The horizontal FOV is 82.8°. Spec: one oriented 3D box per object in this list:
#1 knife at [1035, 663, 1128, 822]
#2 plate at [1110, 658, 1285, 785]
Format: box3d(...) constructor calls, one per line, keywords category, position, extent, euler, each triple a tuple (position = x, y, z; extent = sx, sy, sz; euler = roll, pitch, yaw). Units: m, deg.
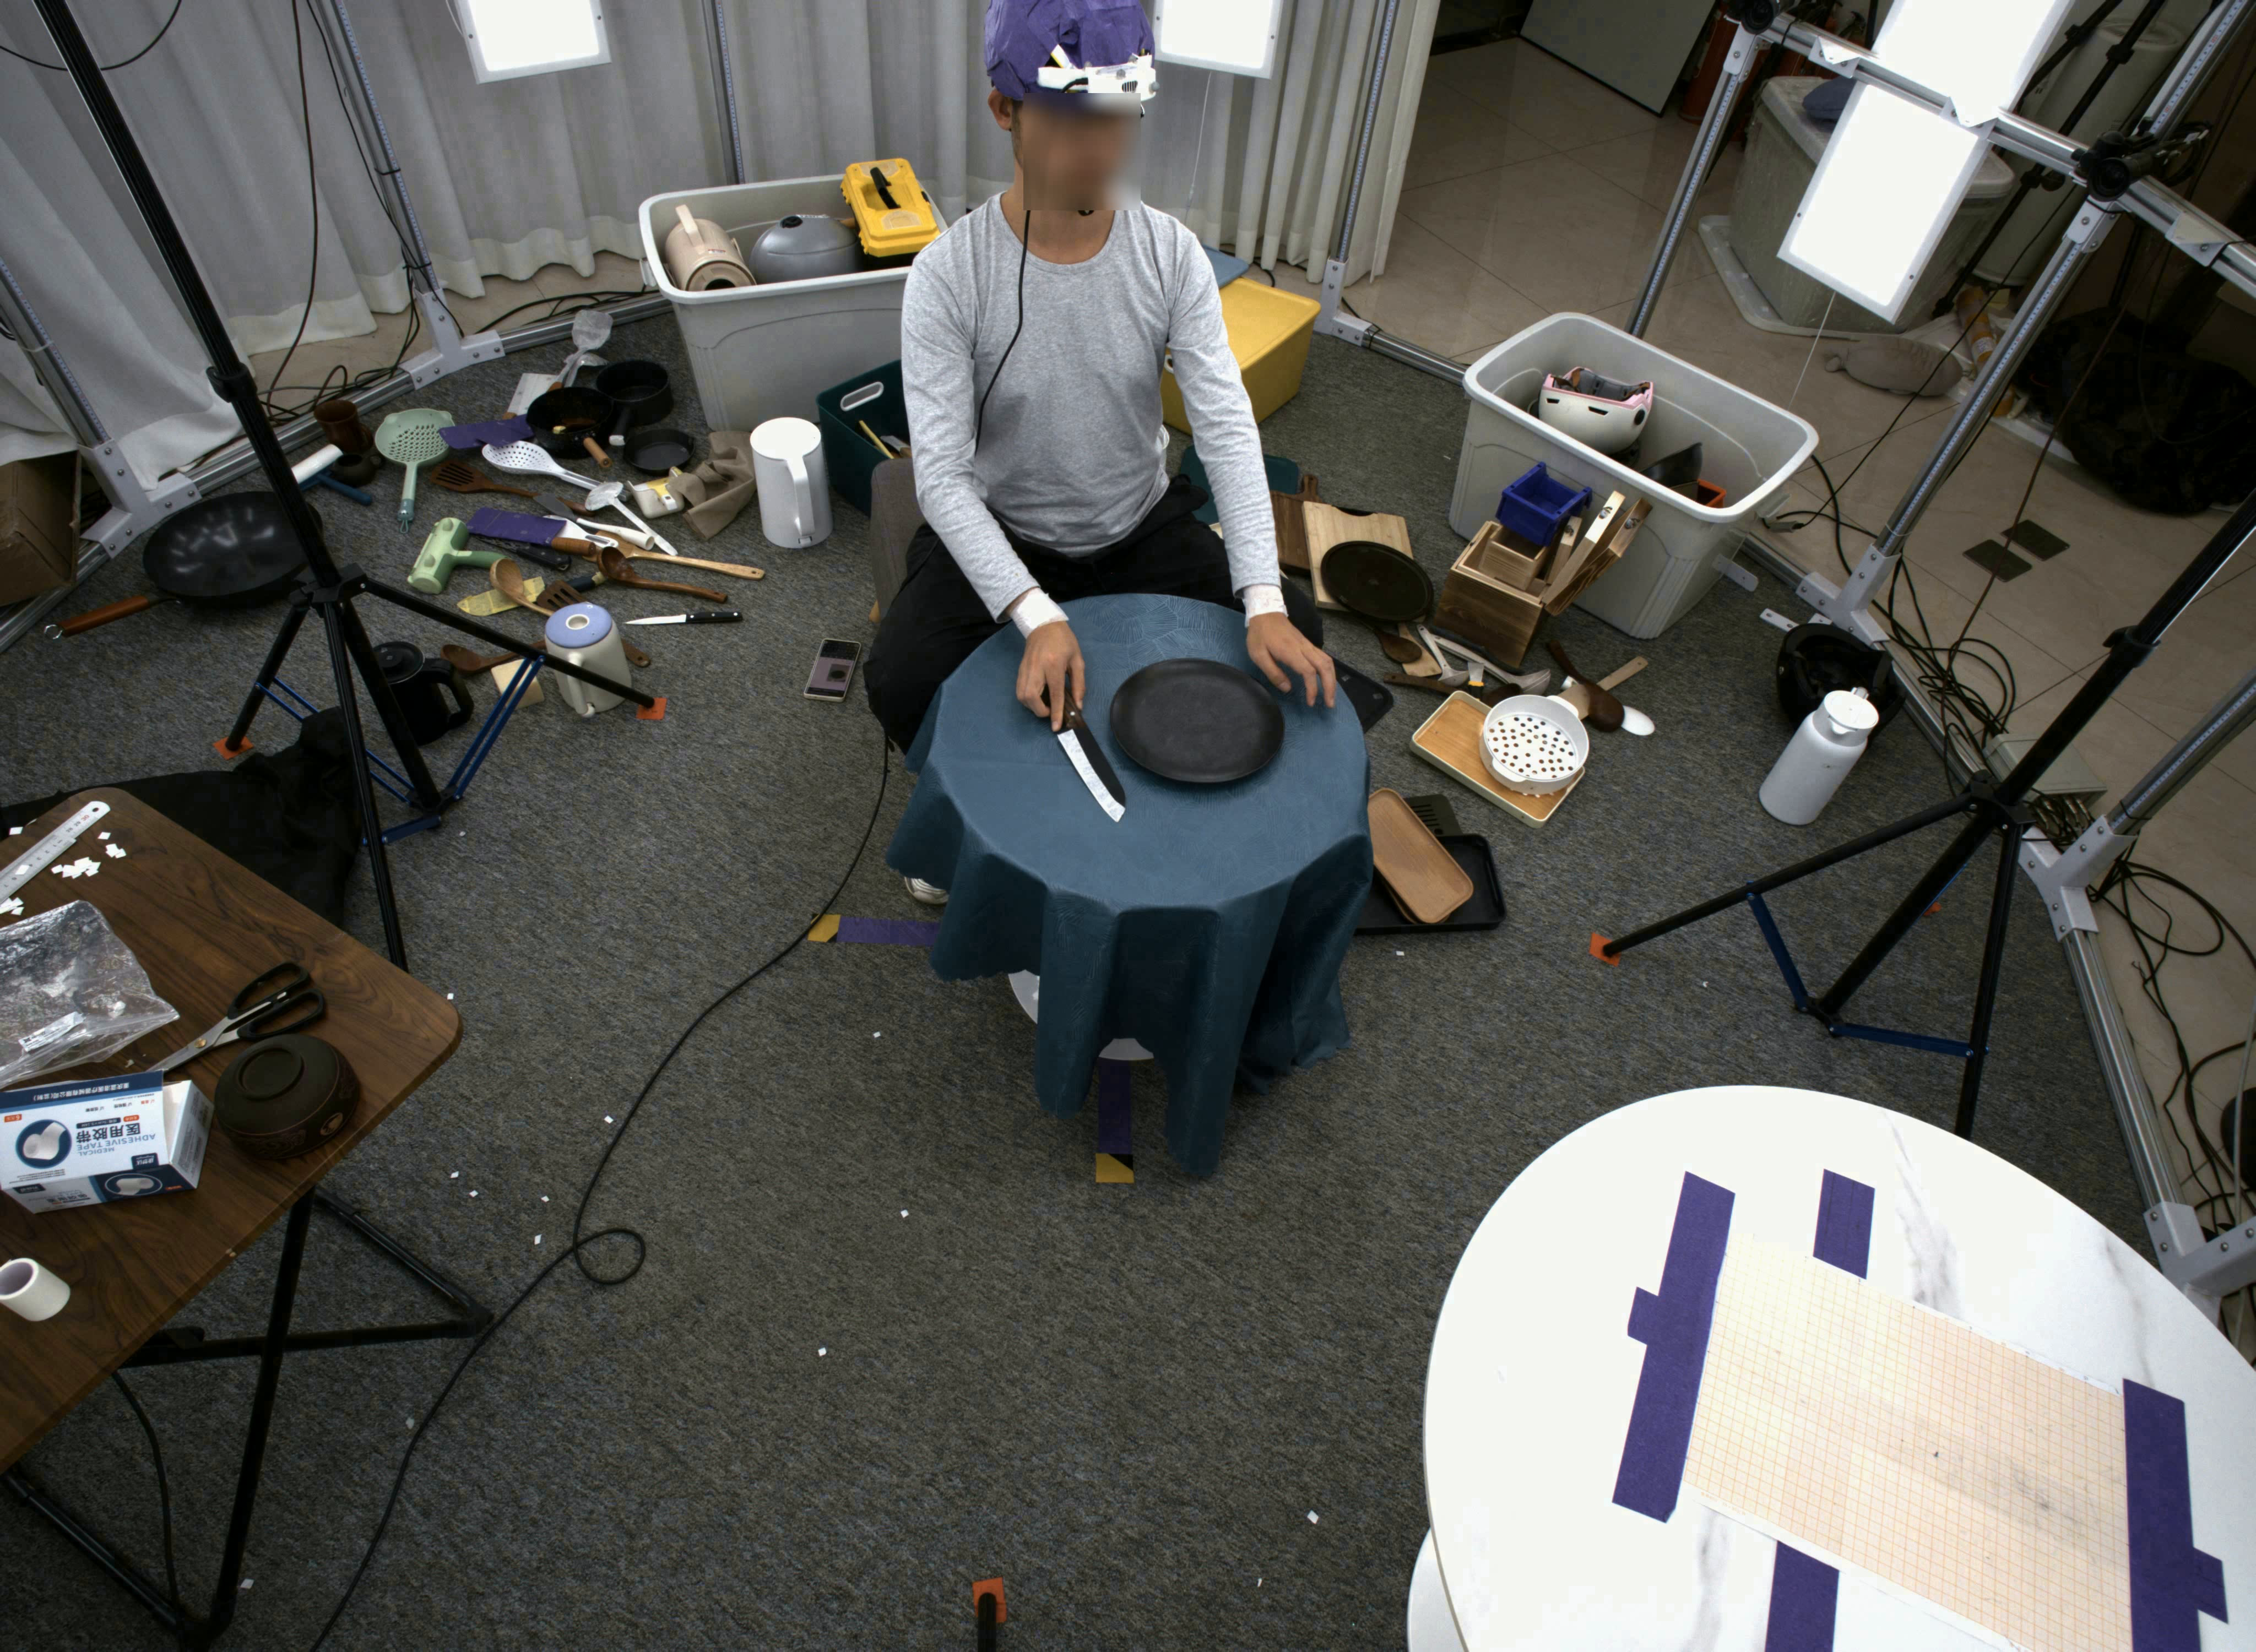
box3d(category="knife", position=(-0.066, -0.117, 1.749), extent=(0.050, 0.019, 0.295), euler=(-22, 57, -8))
box3d(category="plate", position=(0.096, -0.144, 1.784), extent=(0.244, 0.023, 0.250), euler=(2, 49, -2))
